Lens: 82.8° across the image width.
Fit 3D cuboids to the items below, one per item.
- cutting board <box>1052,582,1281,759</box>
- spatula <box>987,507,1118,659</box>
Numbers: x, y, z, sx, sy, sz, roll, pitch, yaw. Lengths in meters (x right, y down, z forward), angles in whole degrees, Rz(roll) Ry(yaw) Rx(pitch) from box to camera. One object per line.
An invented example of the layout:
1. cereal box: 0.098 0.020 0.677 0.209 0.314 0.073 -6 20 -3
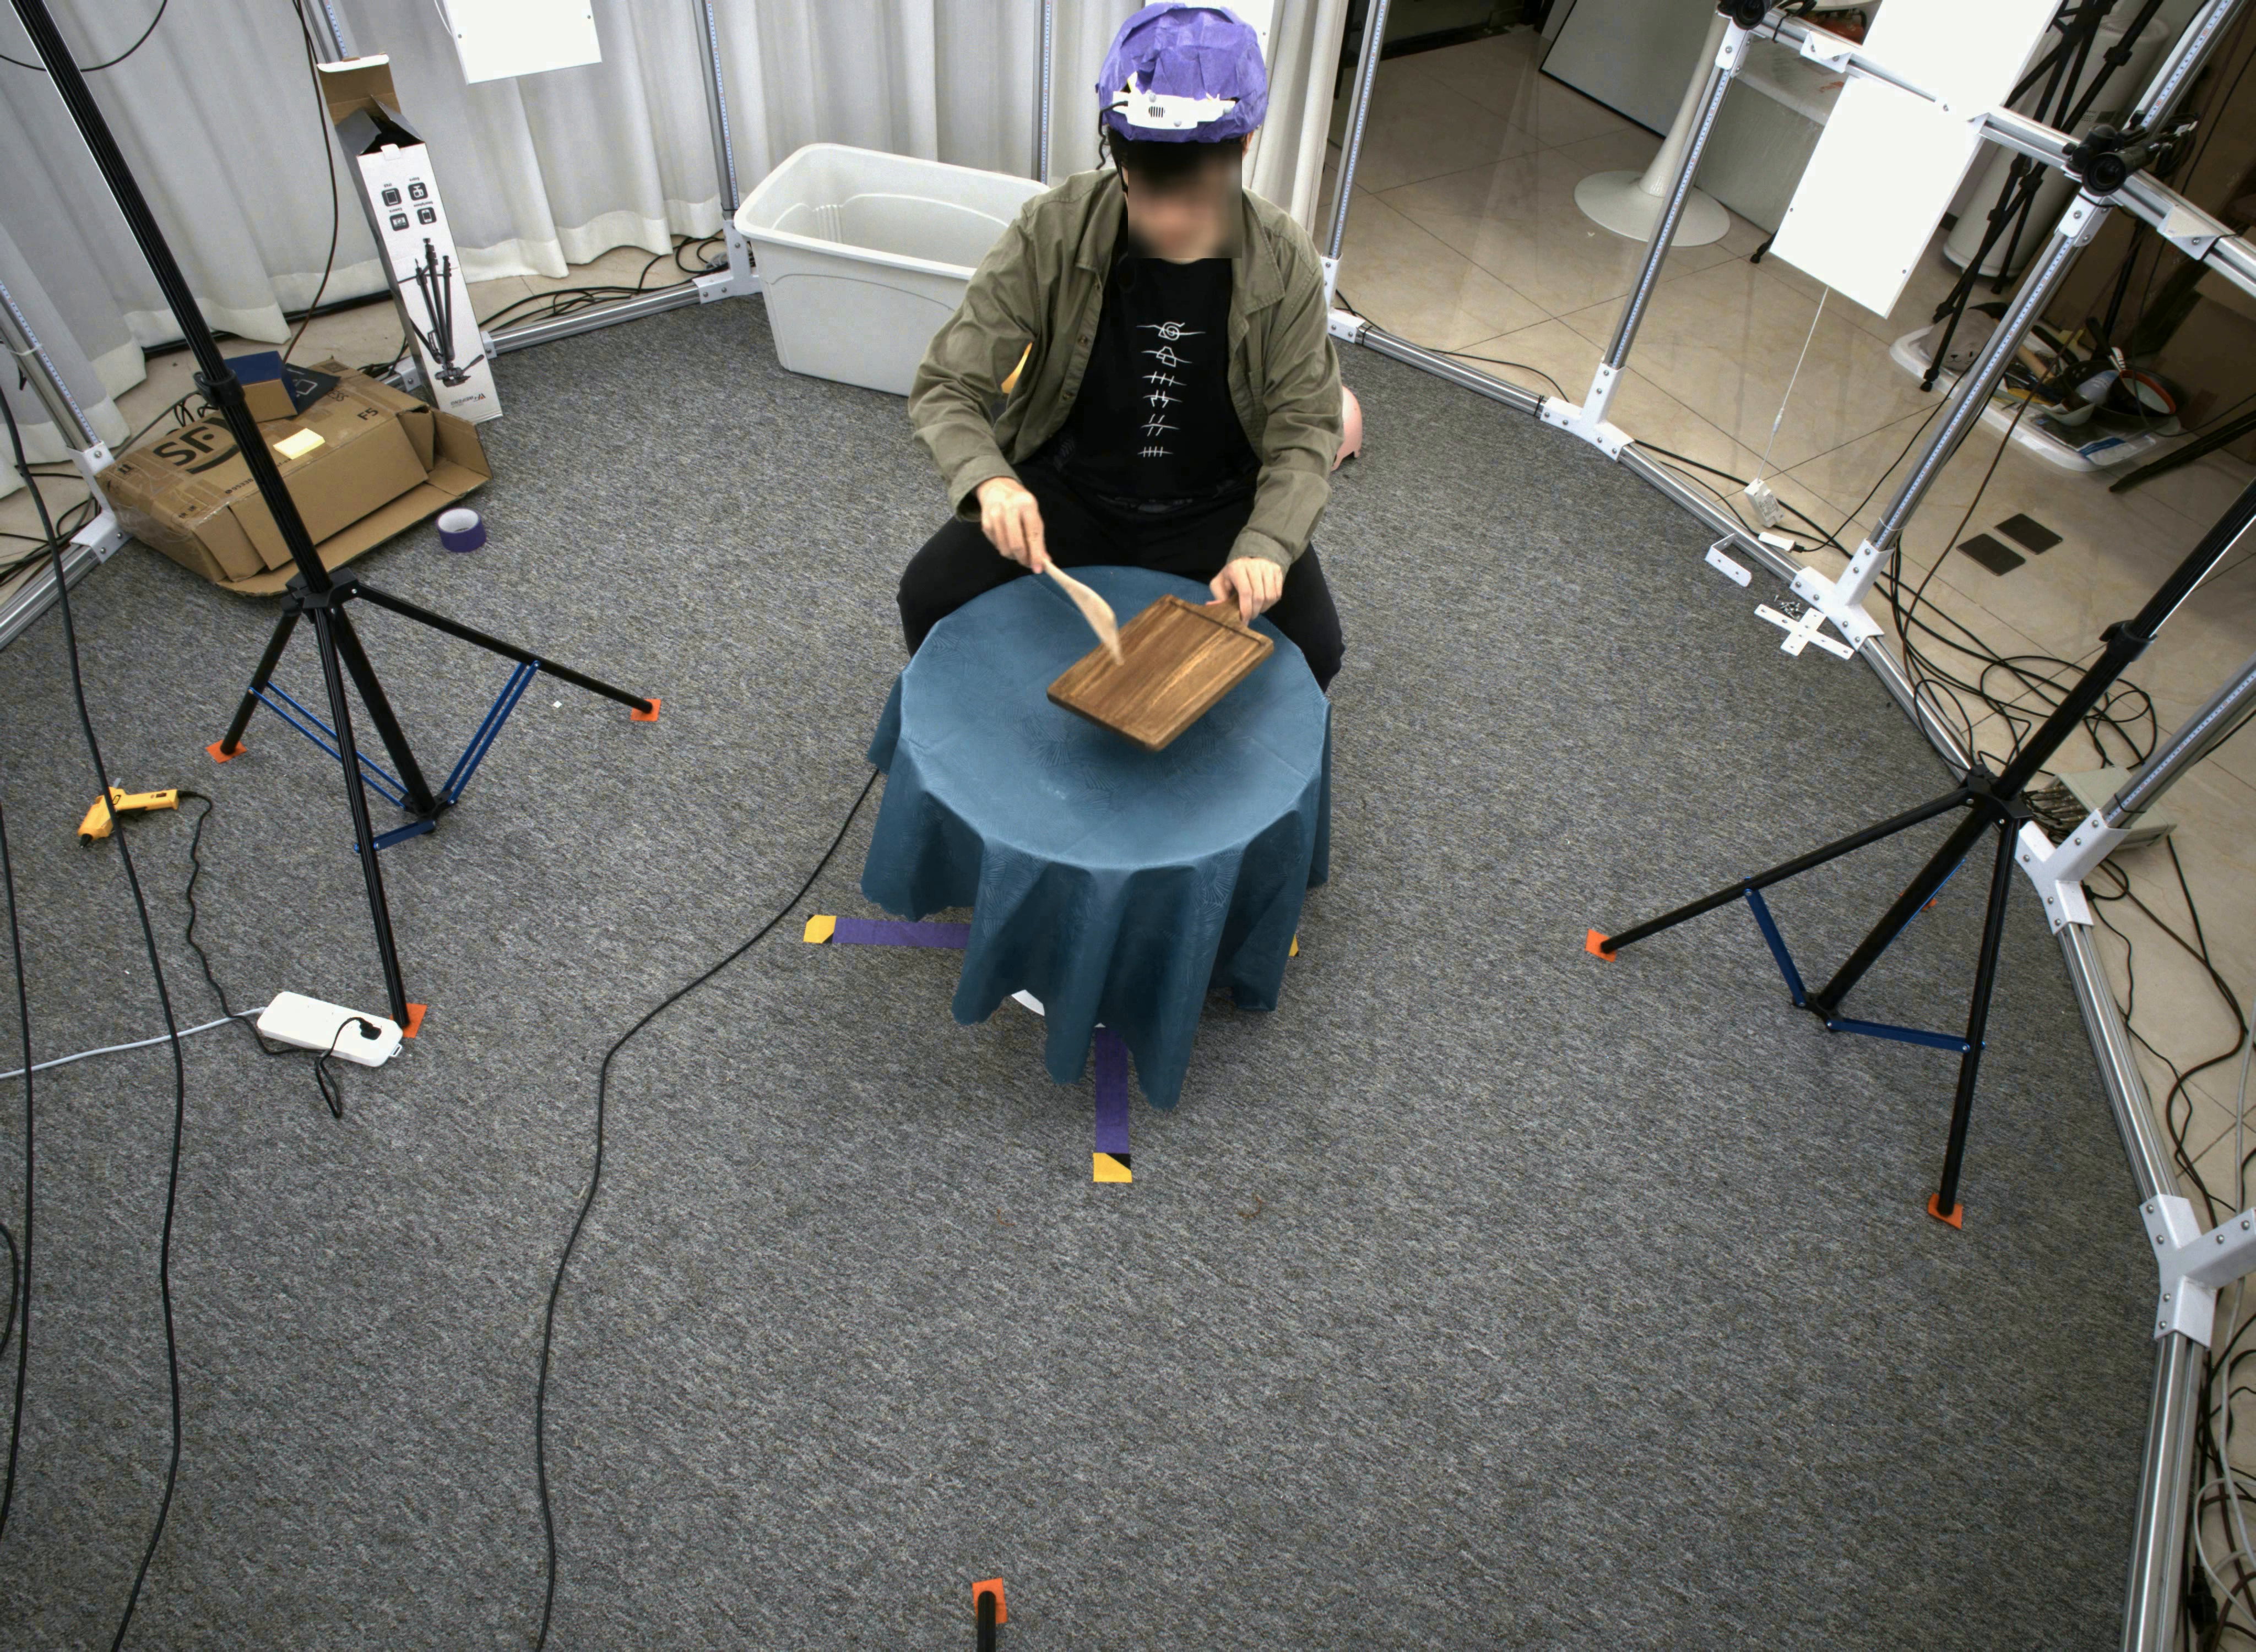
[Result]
1. cutting board: 0.084 -0.230 1.722 0.204 0.022 0.356 29 57 34
2. spatula: -0.102 -0.331 1.669 0.016 0.078 0.334 -29 51 -19
